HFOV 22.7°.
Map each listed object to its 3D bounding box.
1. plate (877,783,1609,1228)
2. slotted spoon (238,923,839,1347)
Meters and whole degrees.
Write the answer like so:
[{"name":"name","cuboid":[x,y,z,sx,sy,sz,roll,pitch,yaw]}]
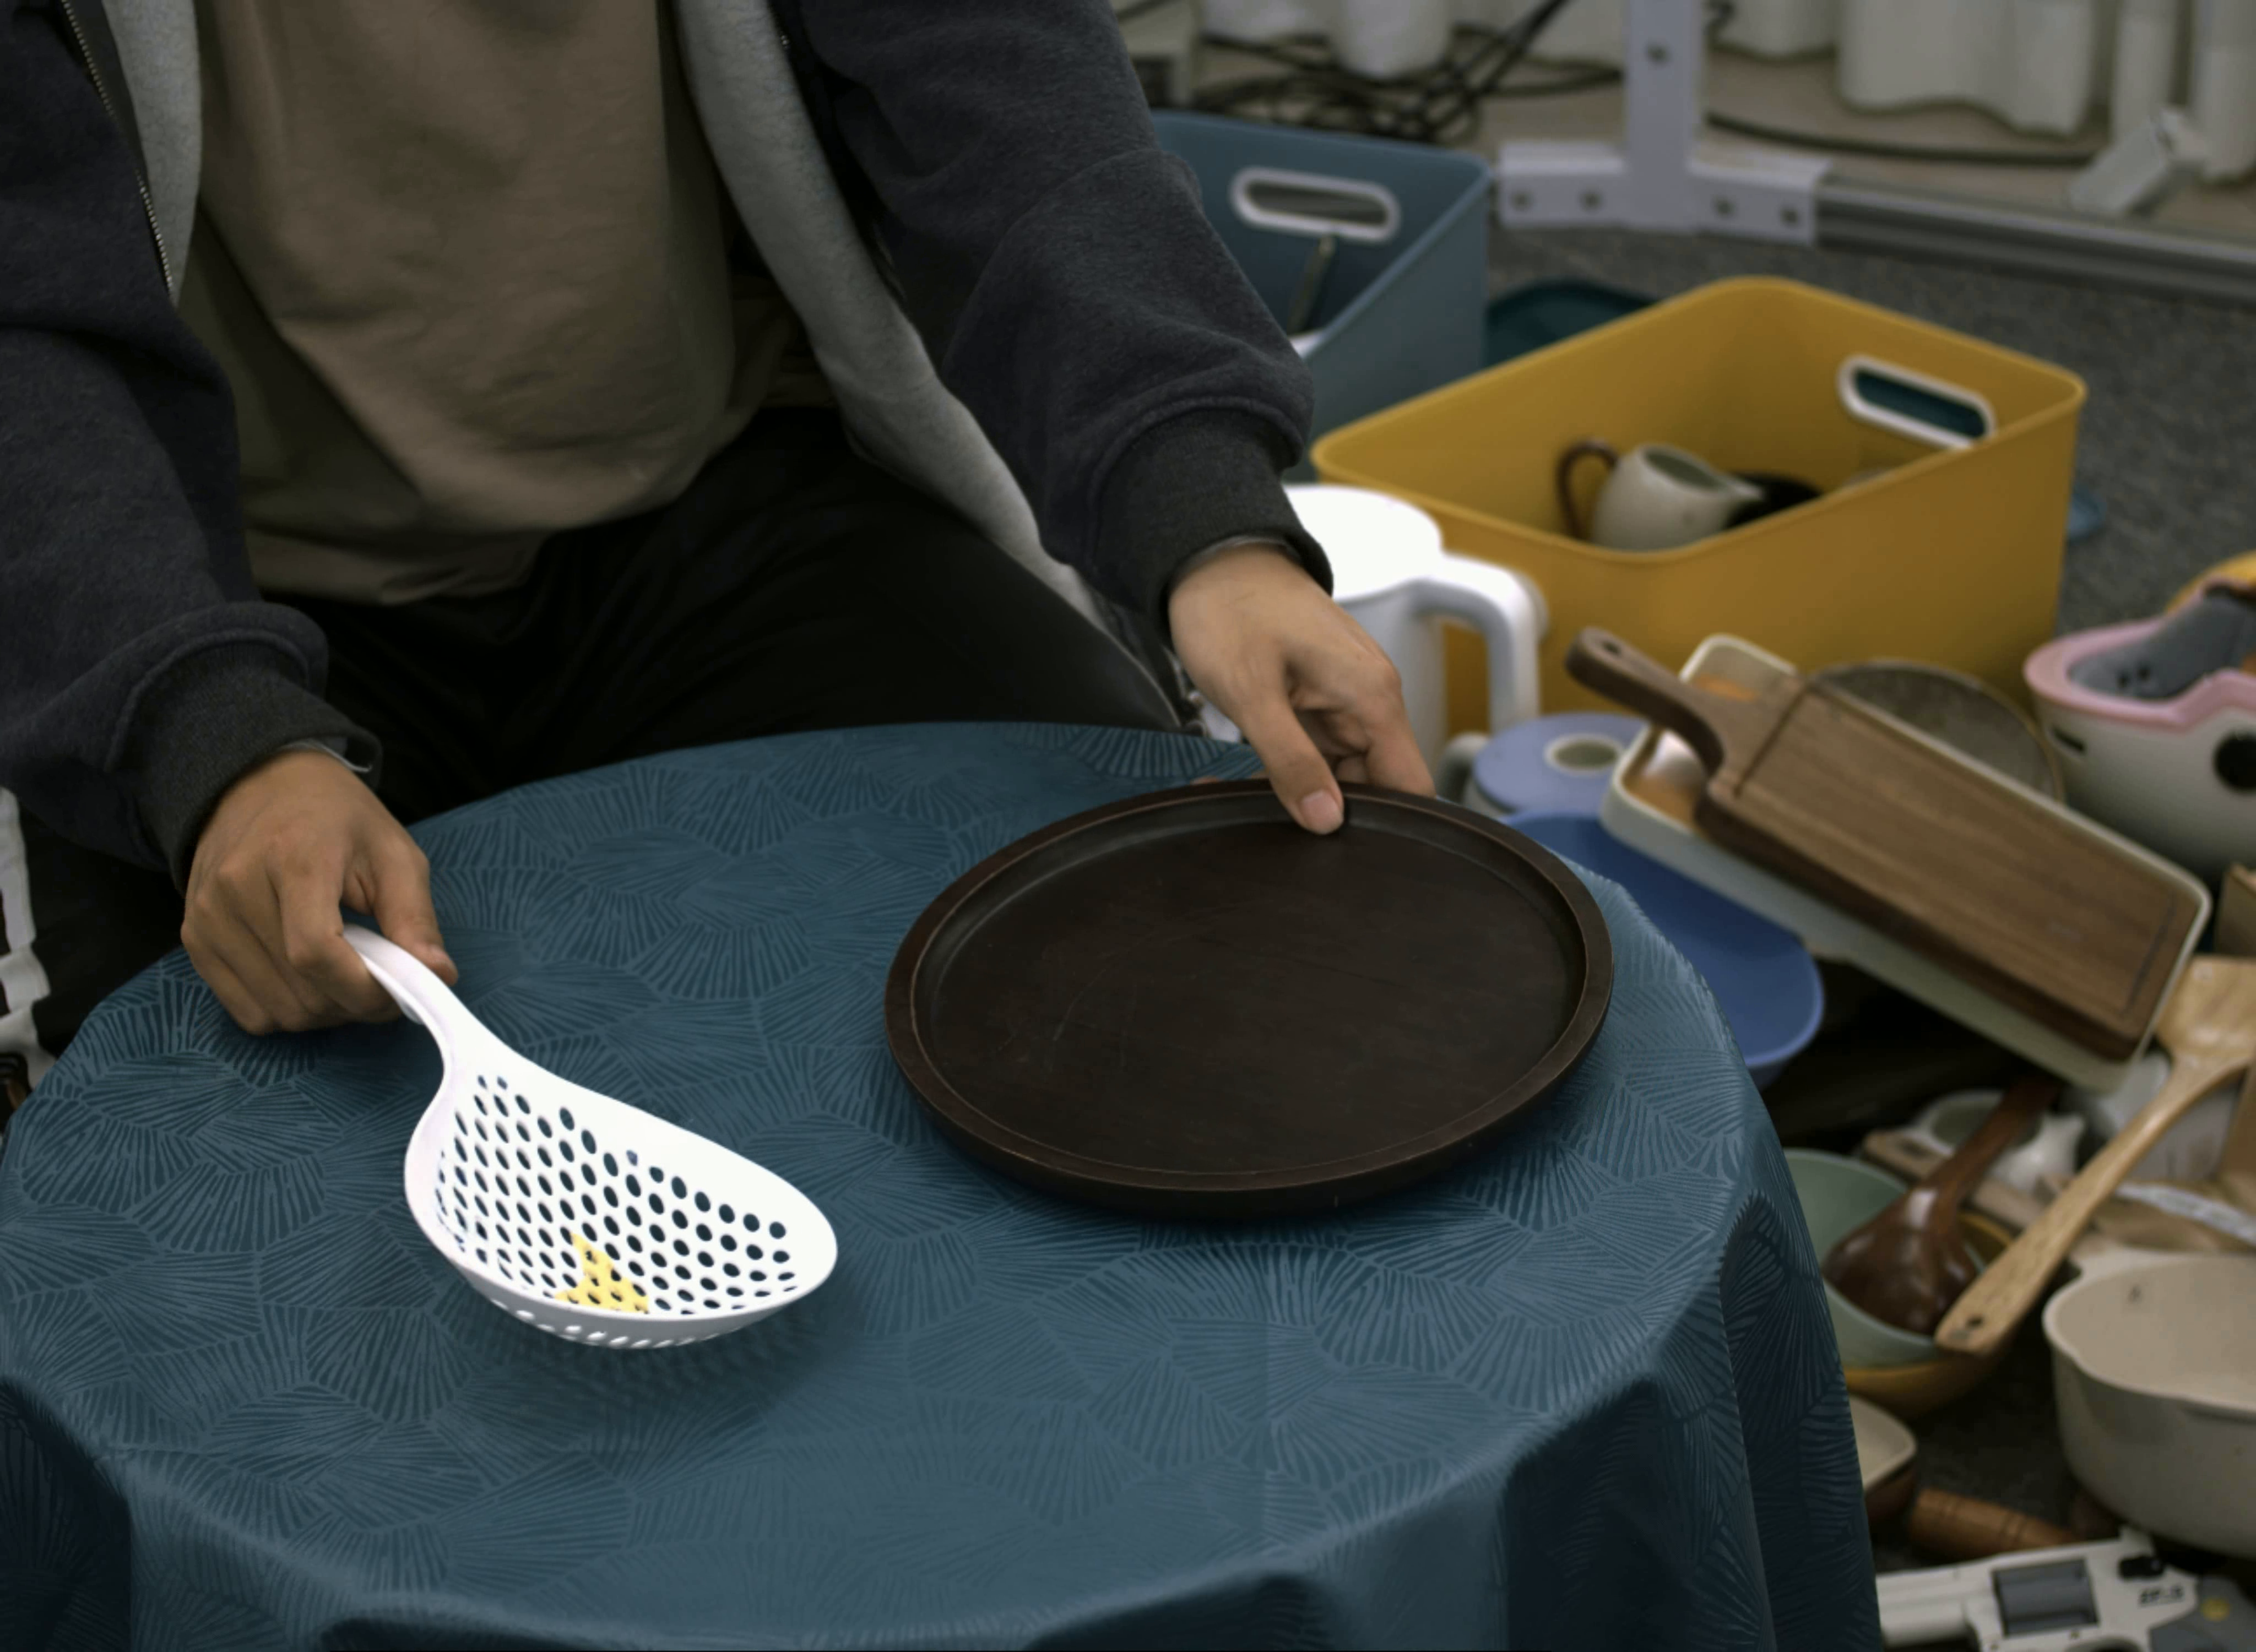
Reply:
[{"name":"plate","cuboid":[0.040,0.060,1.935,0.253,0.028,0.259,-4,32,3]},{"name":"slotted spoon","cuboid":[-0.218,0.092,1.878,0.137,0.050,0.350,-5,29,-31]}]
